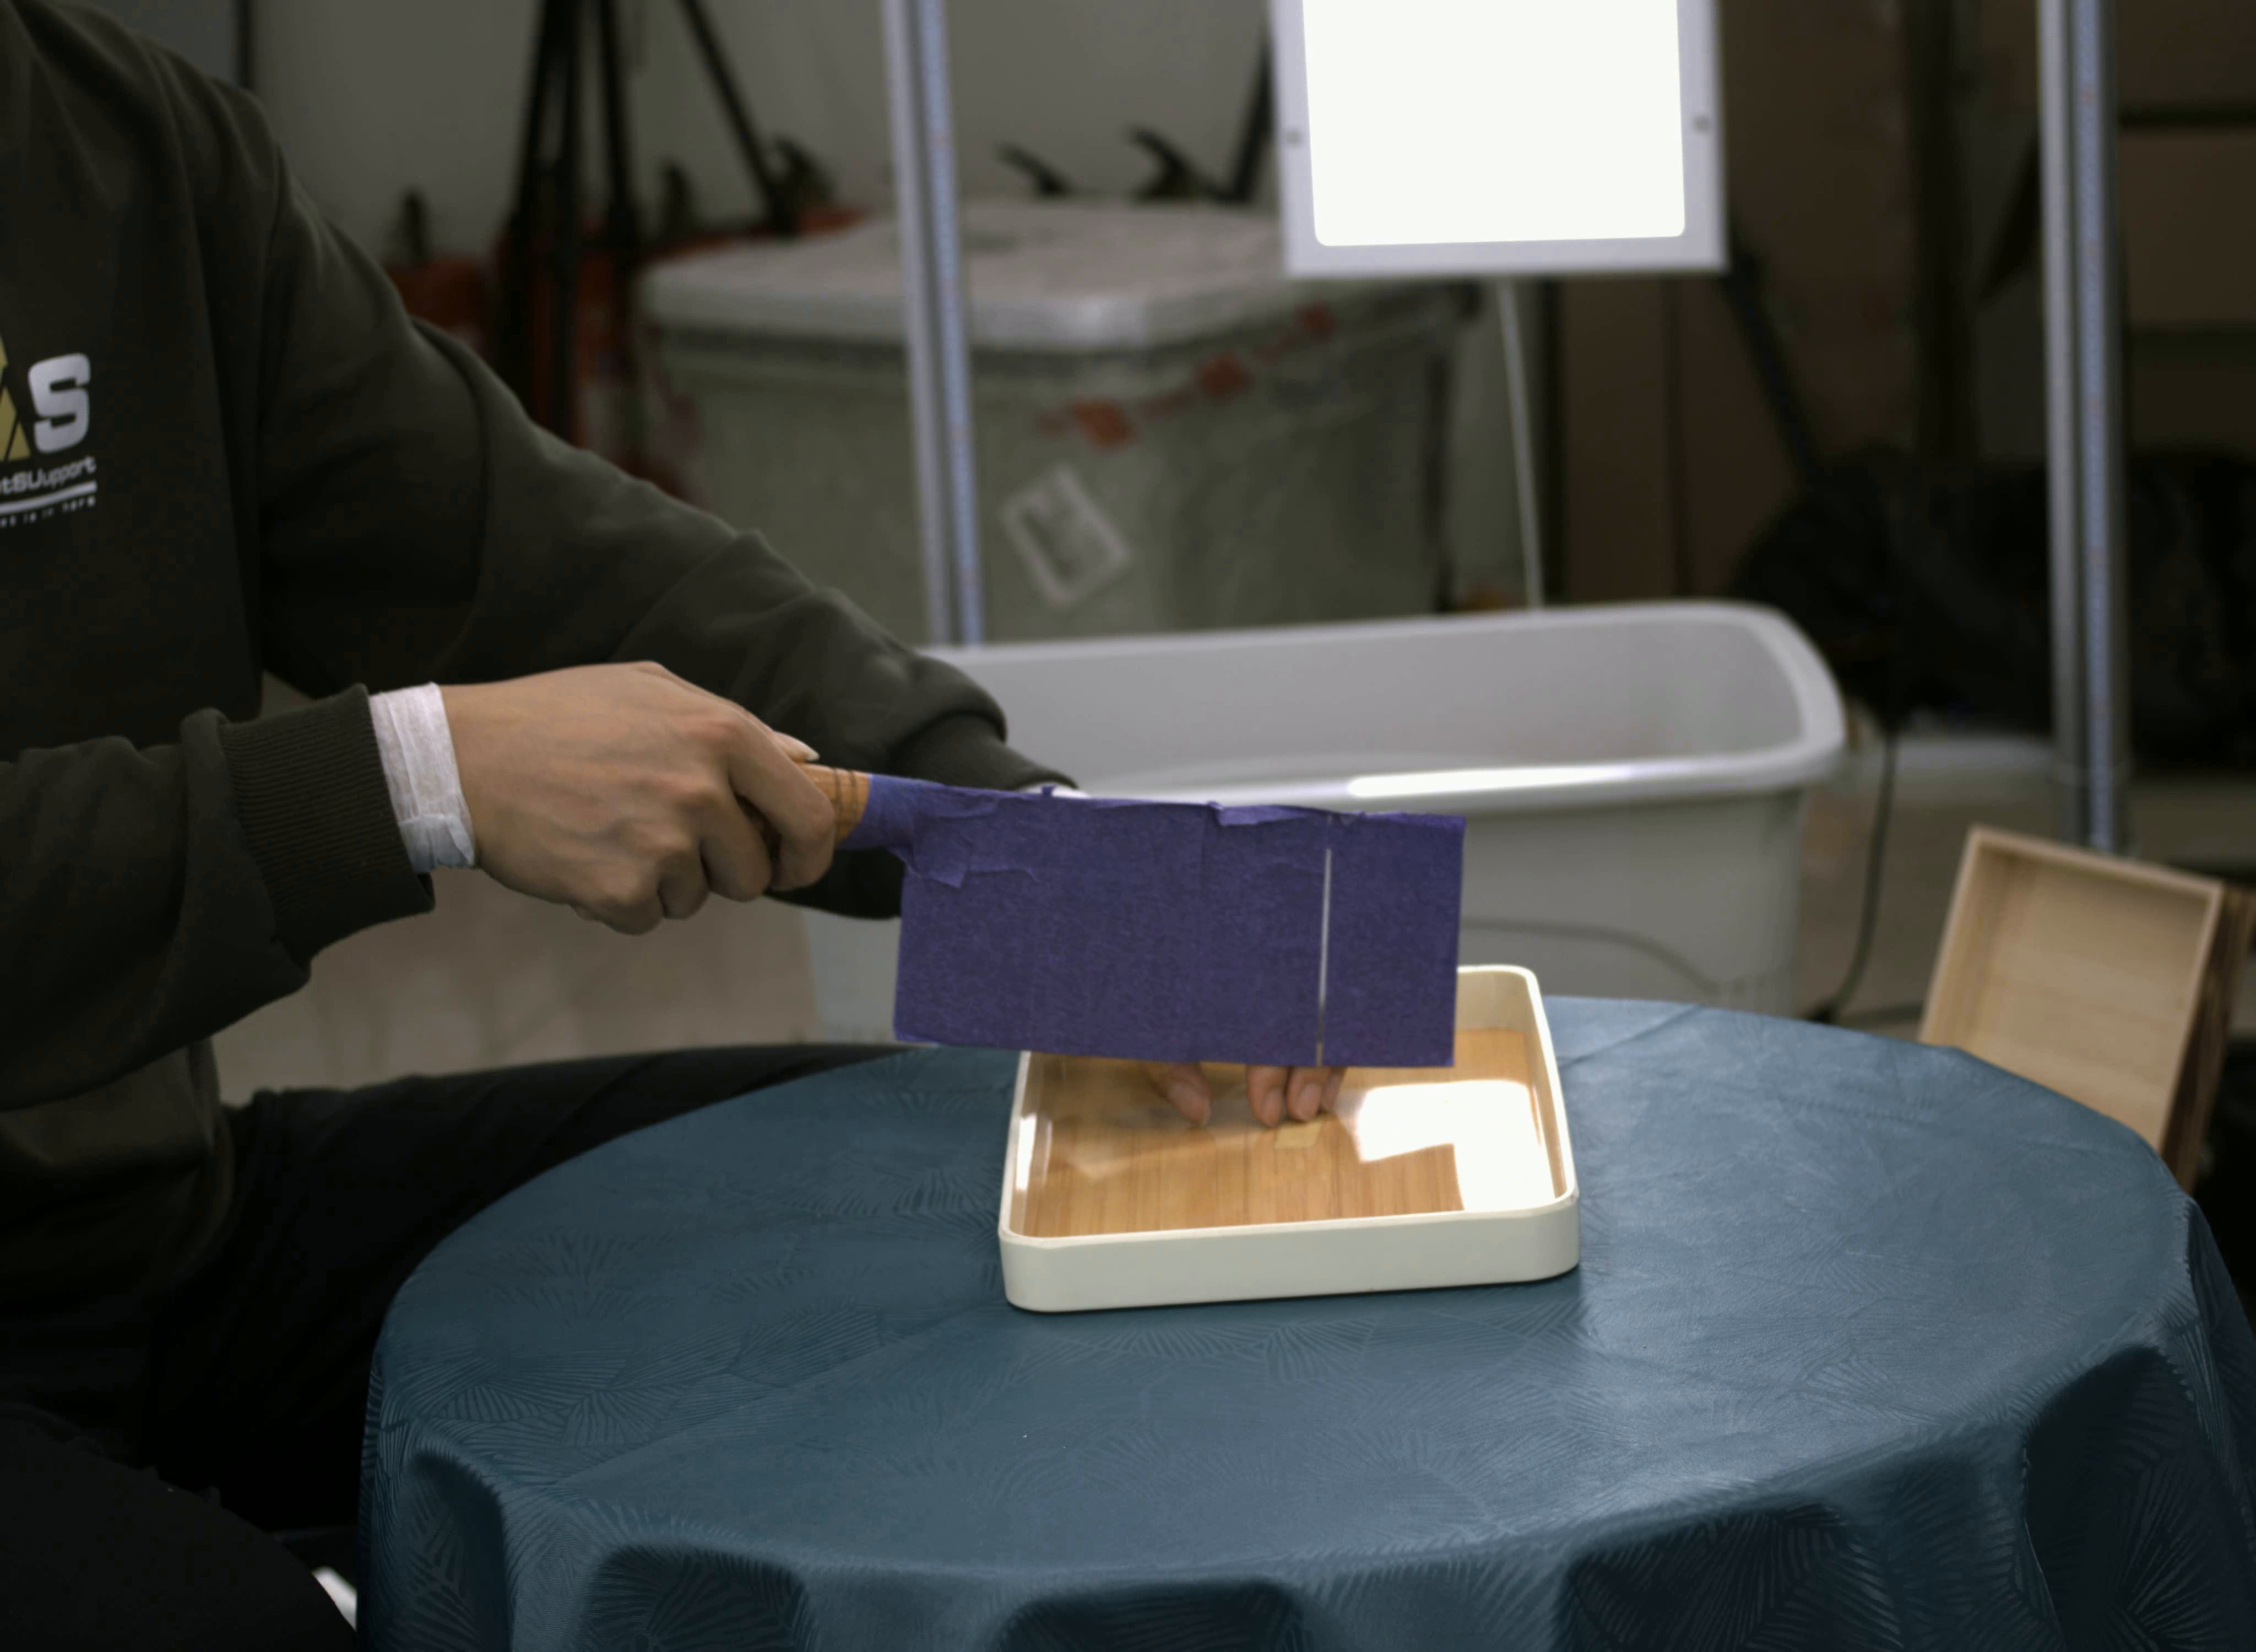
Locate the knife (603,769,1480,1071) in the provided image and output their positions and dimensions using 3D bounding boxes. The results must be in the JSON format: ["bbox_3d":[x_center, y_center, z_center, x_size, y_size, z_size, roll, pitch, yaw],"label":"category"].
[{"bbox_3d":[-0.026,0.031,1.902,0.311,0.104,0.032,2,2,-13],"label":"knife"}]

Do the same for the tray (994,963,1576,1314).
[{"bbox_3d":[0.054,0.105,1.914,0.192,0.027,0.299,-5,14,3],"label":"tray"}]
